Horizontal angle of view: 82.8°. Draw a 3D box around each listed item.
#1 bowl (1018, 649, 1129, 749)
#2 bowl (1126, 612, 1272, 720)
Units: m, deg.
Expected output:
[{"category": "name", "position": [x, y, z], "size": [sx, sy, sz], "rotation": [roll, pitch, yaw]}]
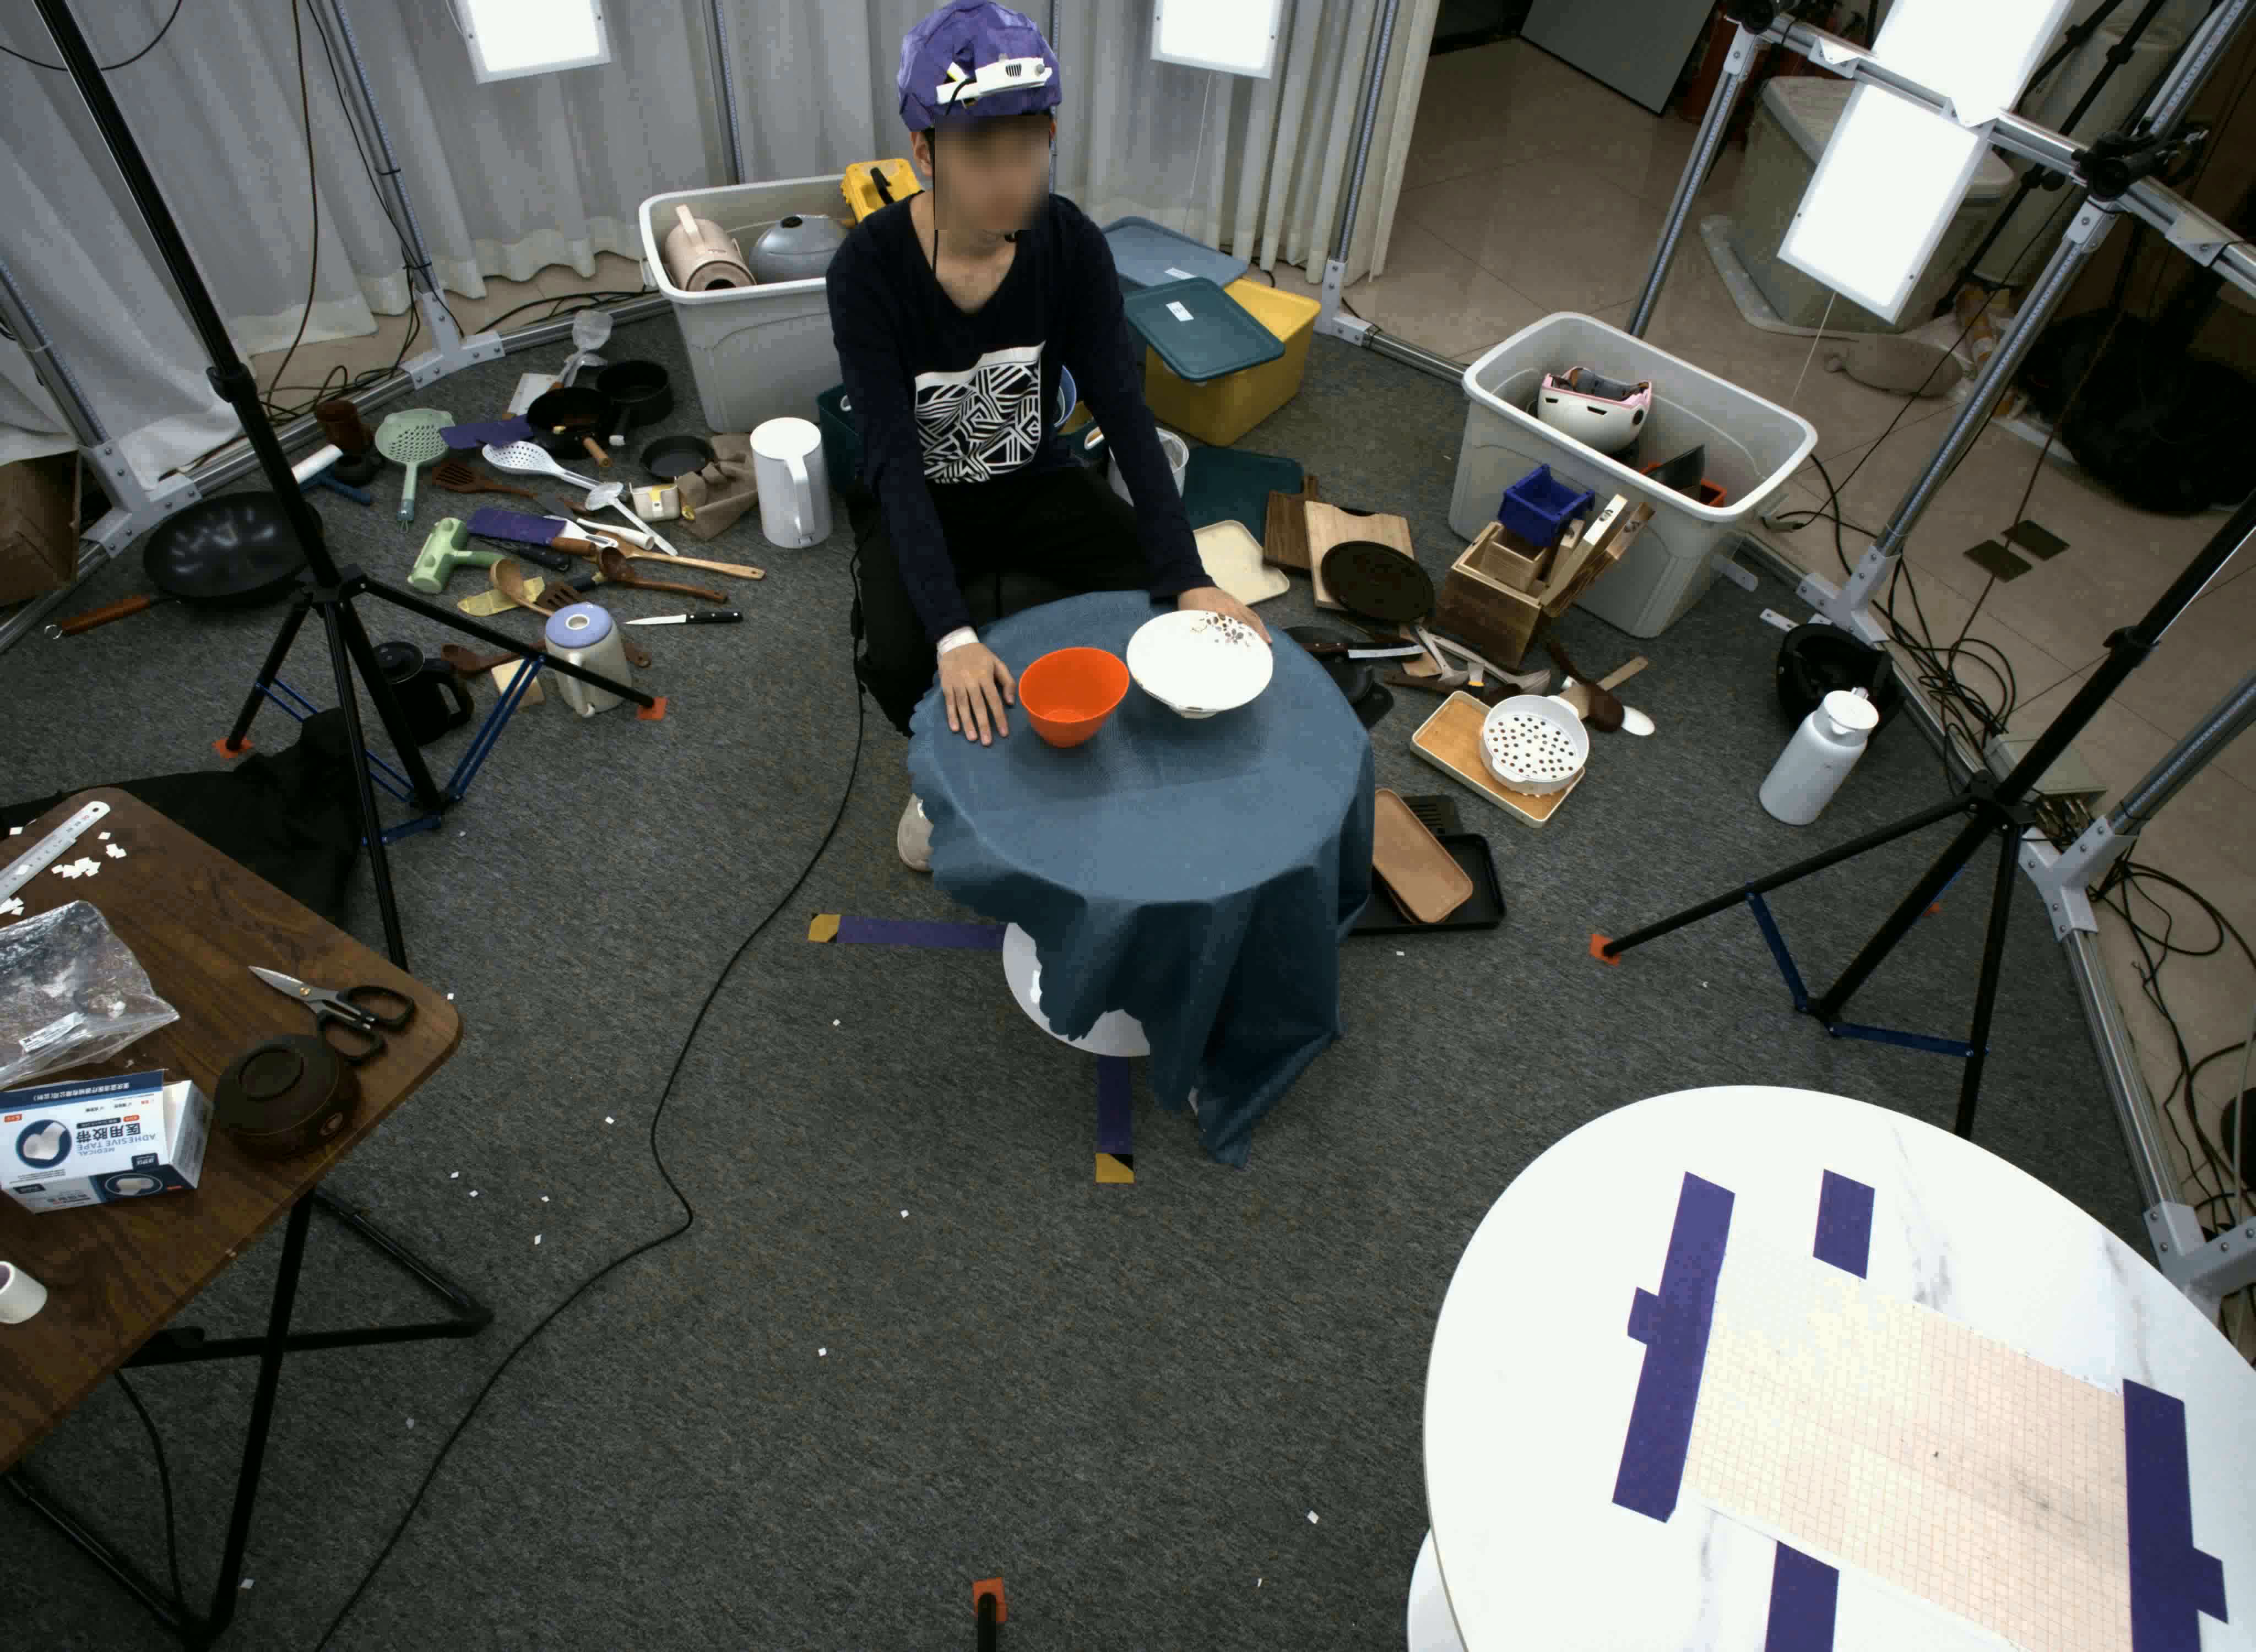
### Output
[{"category": "bowl", "position": [-0.075, -0.162, 1.739], "size": [0.148, 0.102, 0.152], "rotation": [1, 48, -1]}, {"category": "bowl", "position": [0.096, -0.207, 1.804], "size": [0.204, 0.076, 0.209], "rotation": [2, 48, -3]}]
